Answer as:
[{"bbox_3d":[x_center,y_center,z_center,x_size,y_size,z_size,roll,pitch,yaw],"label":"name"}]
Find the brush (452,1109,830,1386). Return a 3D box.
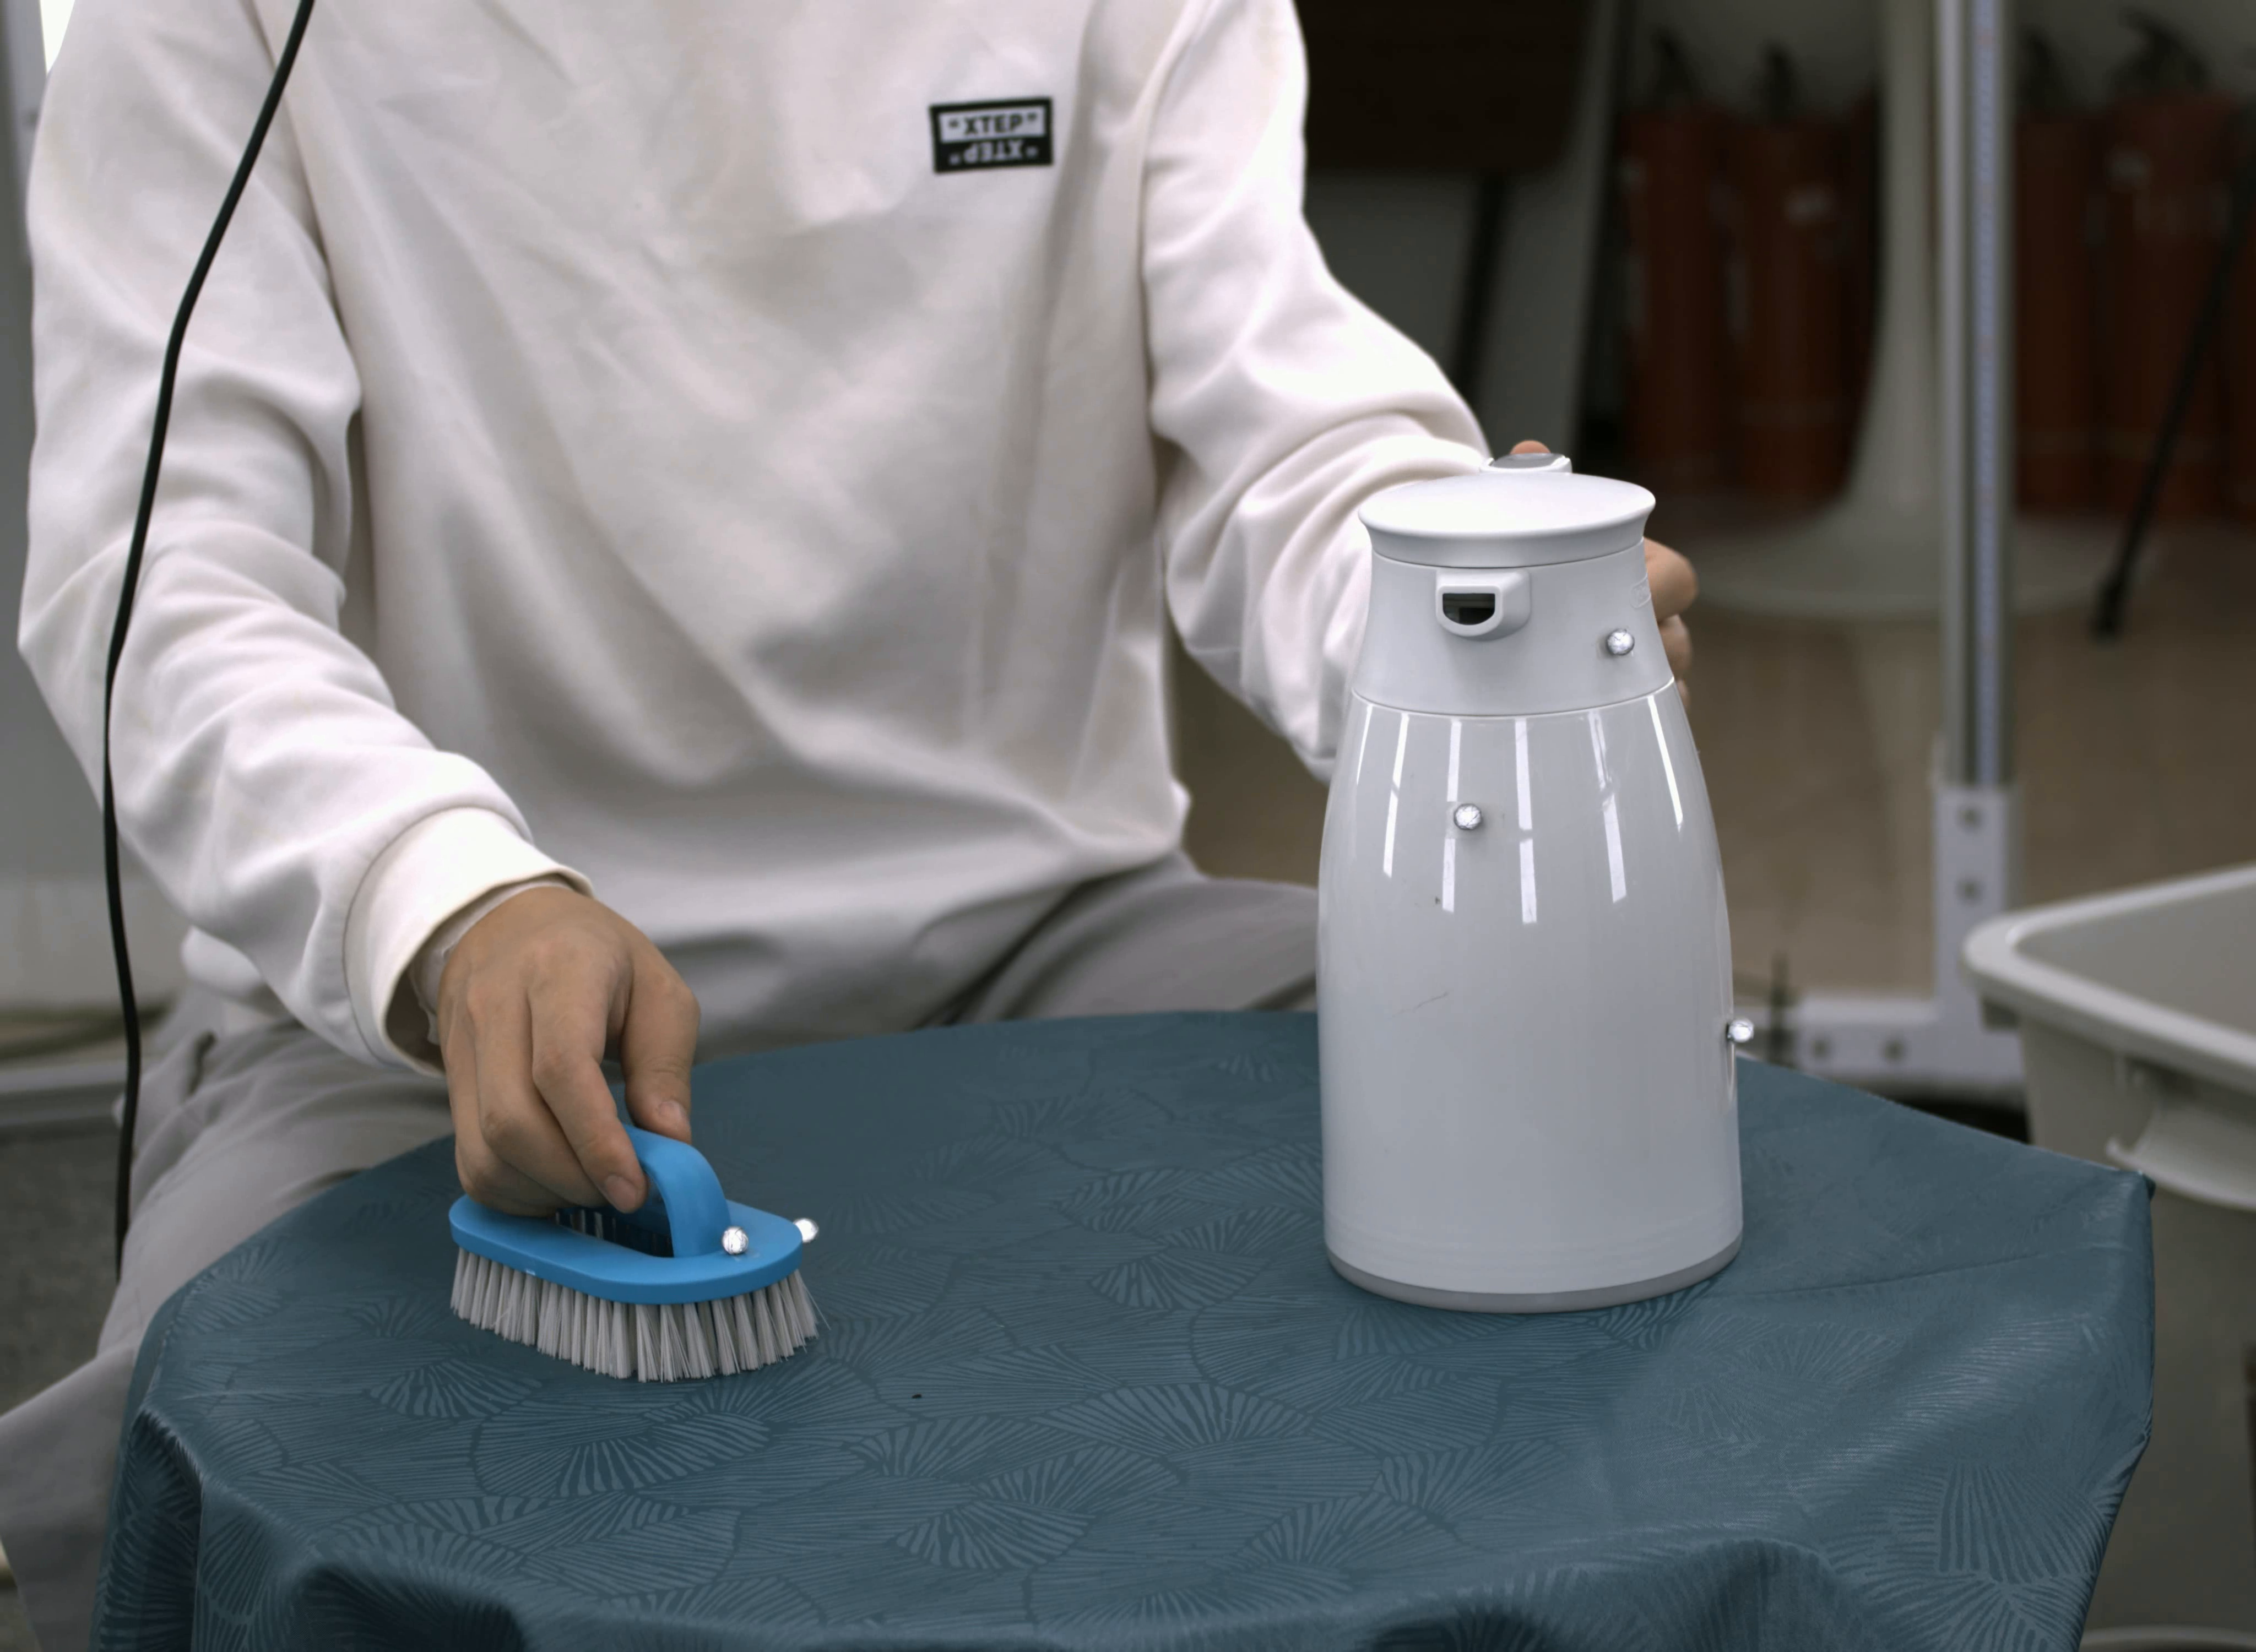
[{"bbox_3d":[-0.155,0.123,1.674,0.082,0.064,0.143,-19,18,-34],"label":"brush"}]

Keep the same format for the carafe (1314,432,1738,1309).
[{"bbox_3d":[0.124,0.006,1.682,0.132,0.251,0.166,0,12,15],"label":"carafe"}]
